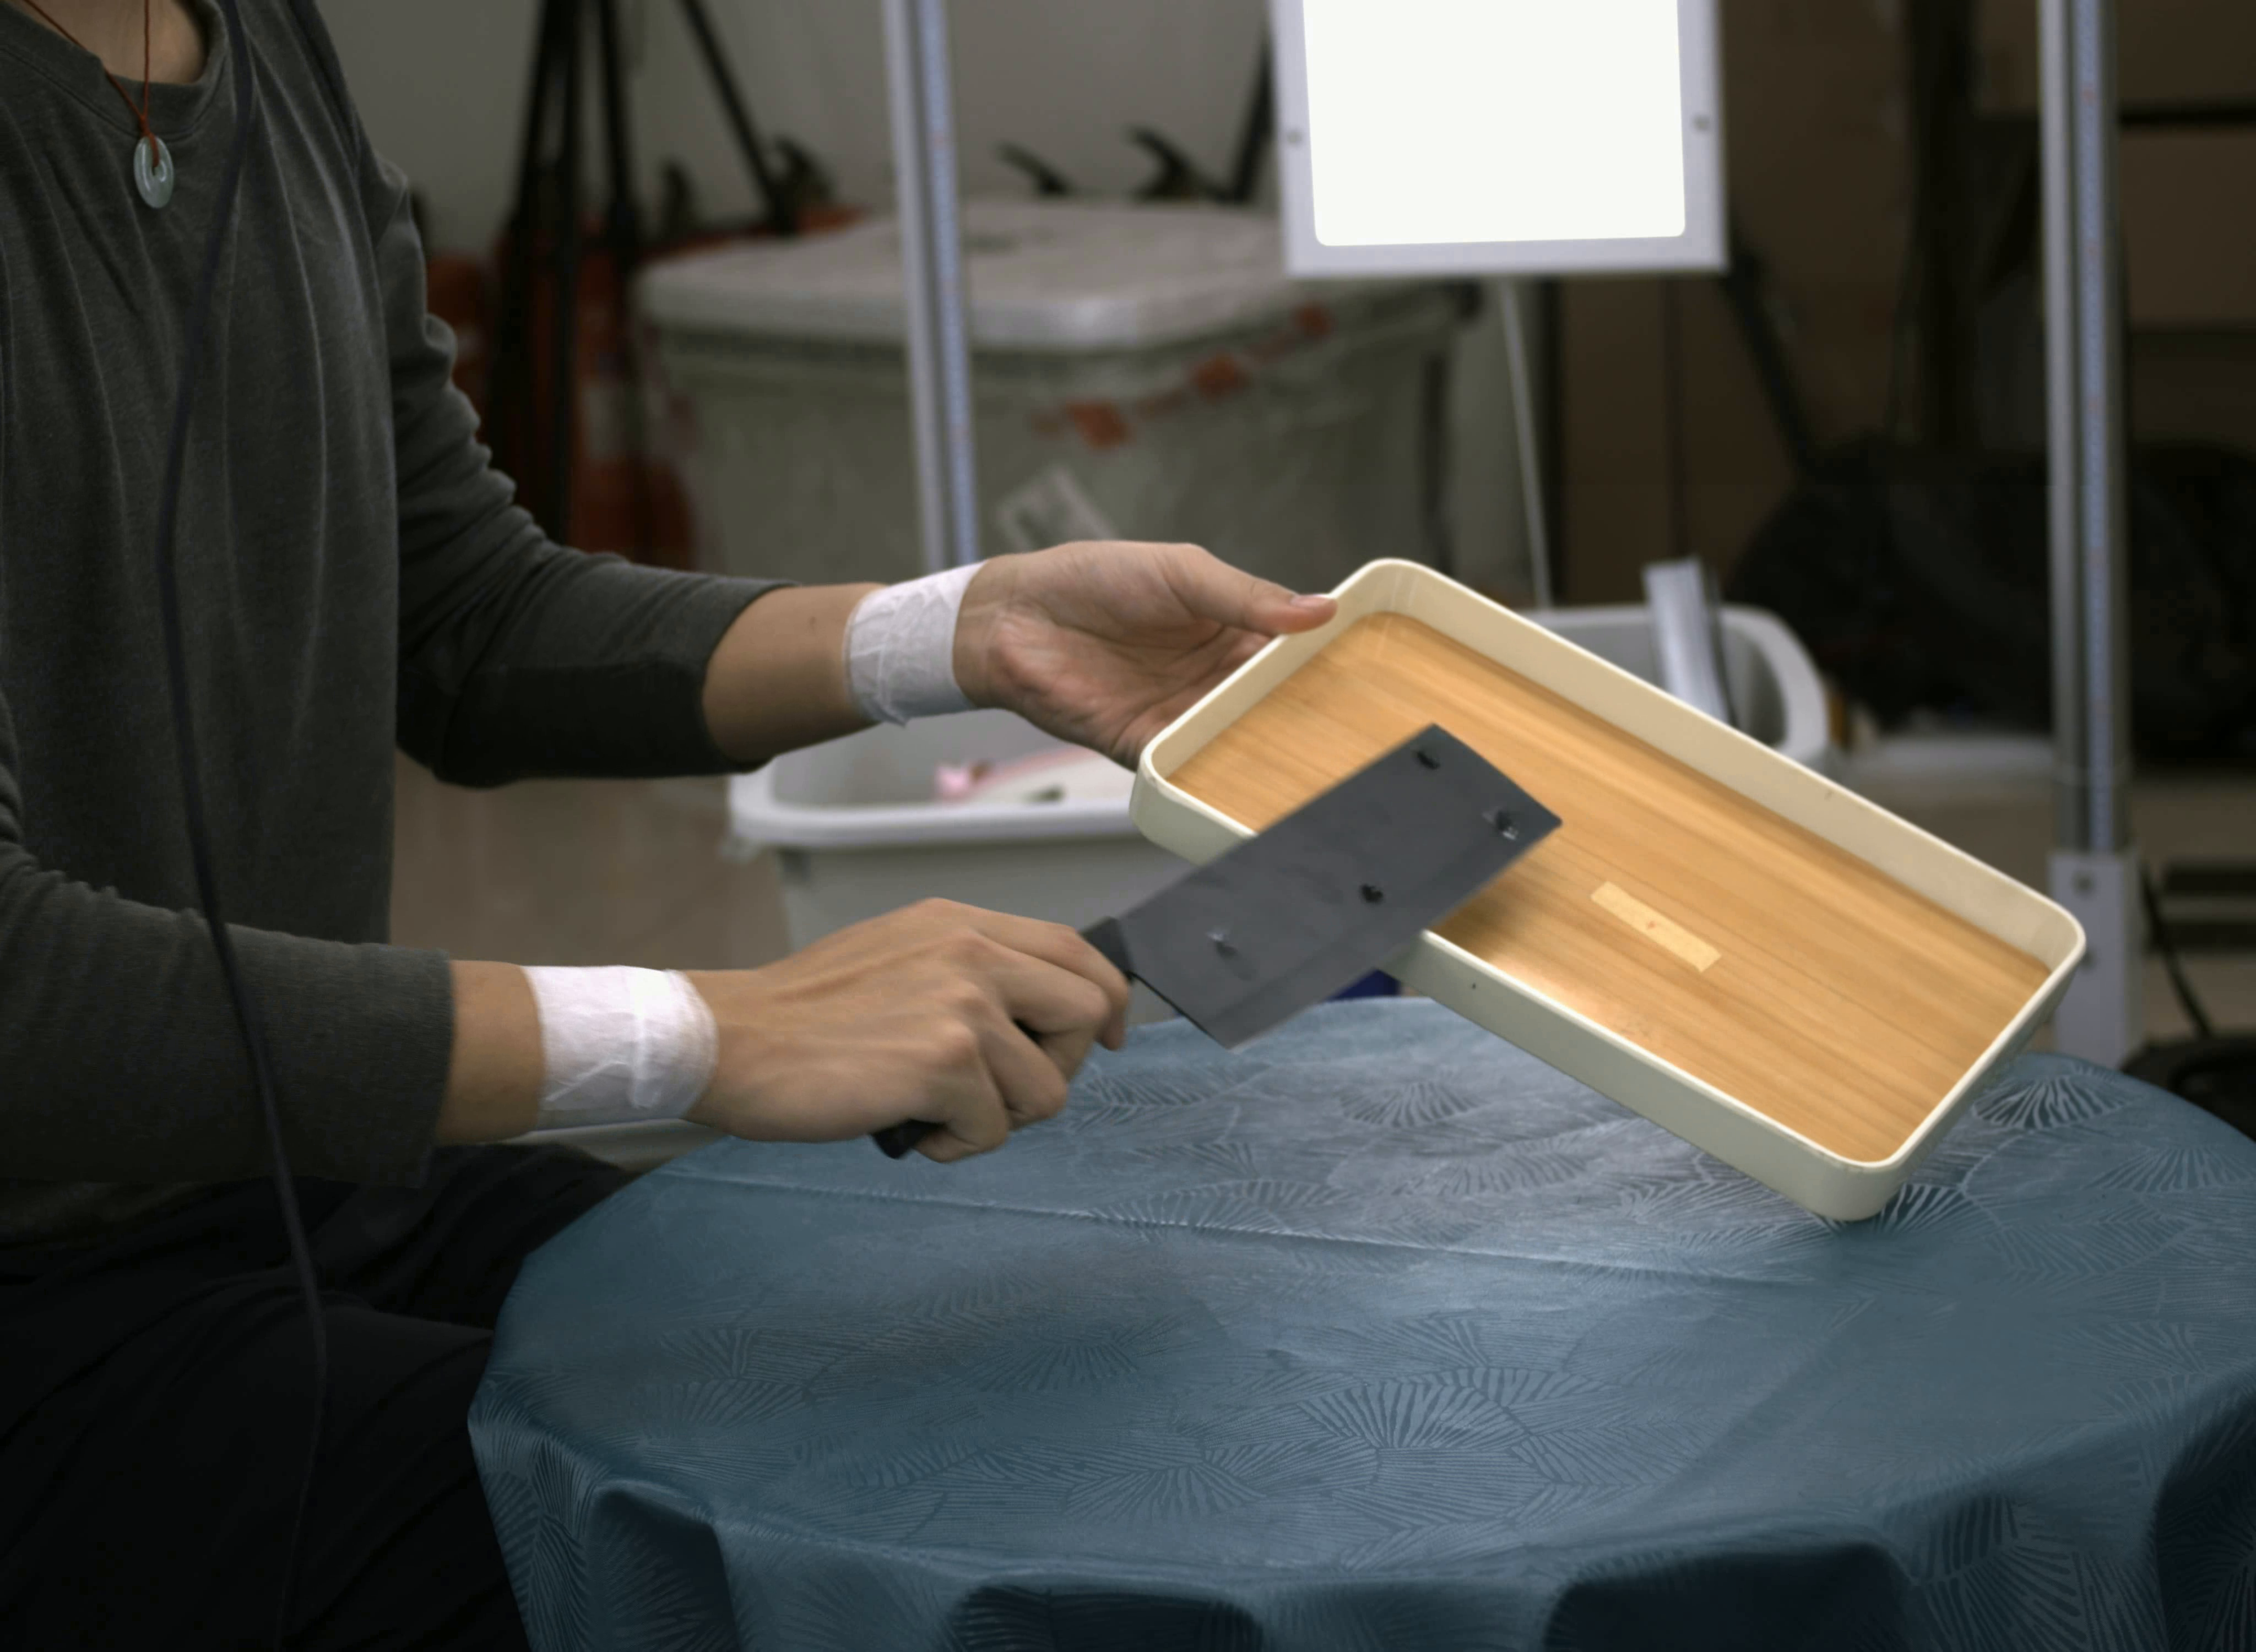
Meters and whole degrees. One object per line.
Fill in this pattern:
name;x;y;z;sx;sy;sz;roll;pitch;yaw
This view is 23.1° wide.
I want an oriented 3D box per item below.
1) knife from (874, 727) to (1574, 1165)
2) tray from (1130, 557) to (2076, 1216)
knife;0.033;0.041;1.815;0.295;0.021;0.082;-27;56;-34
tray;0.167;0.016;1.905;0.303;0.028;0.187;29;40;20
